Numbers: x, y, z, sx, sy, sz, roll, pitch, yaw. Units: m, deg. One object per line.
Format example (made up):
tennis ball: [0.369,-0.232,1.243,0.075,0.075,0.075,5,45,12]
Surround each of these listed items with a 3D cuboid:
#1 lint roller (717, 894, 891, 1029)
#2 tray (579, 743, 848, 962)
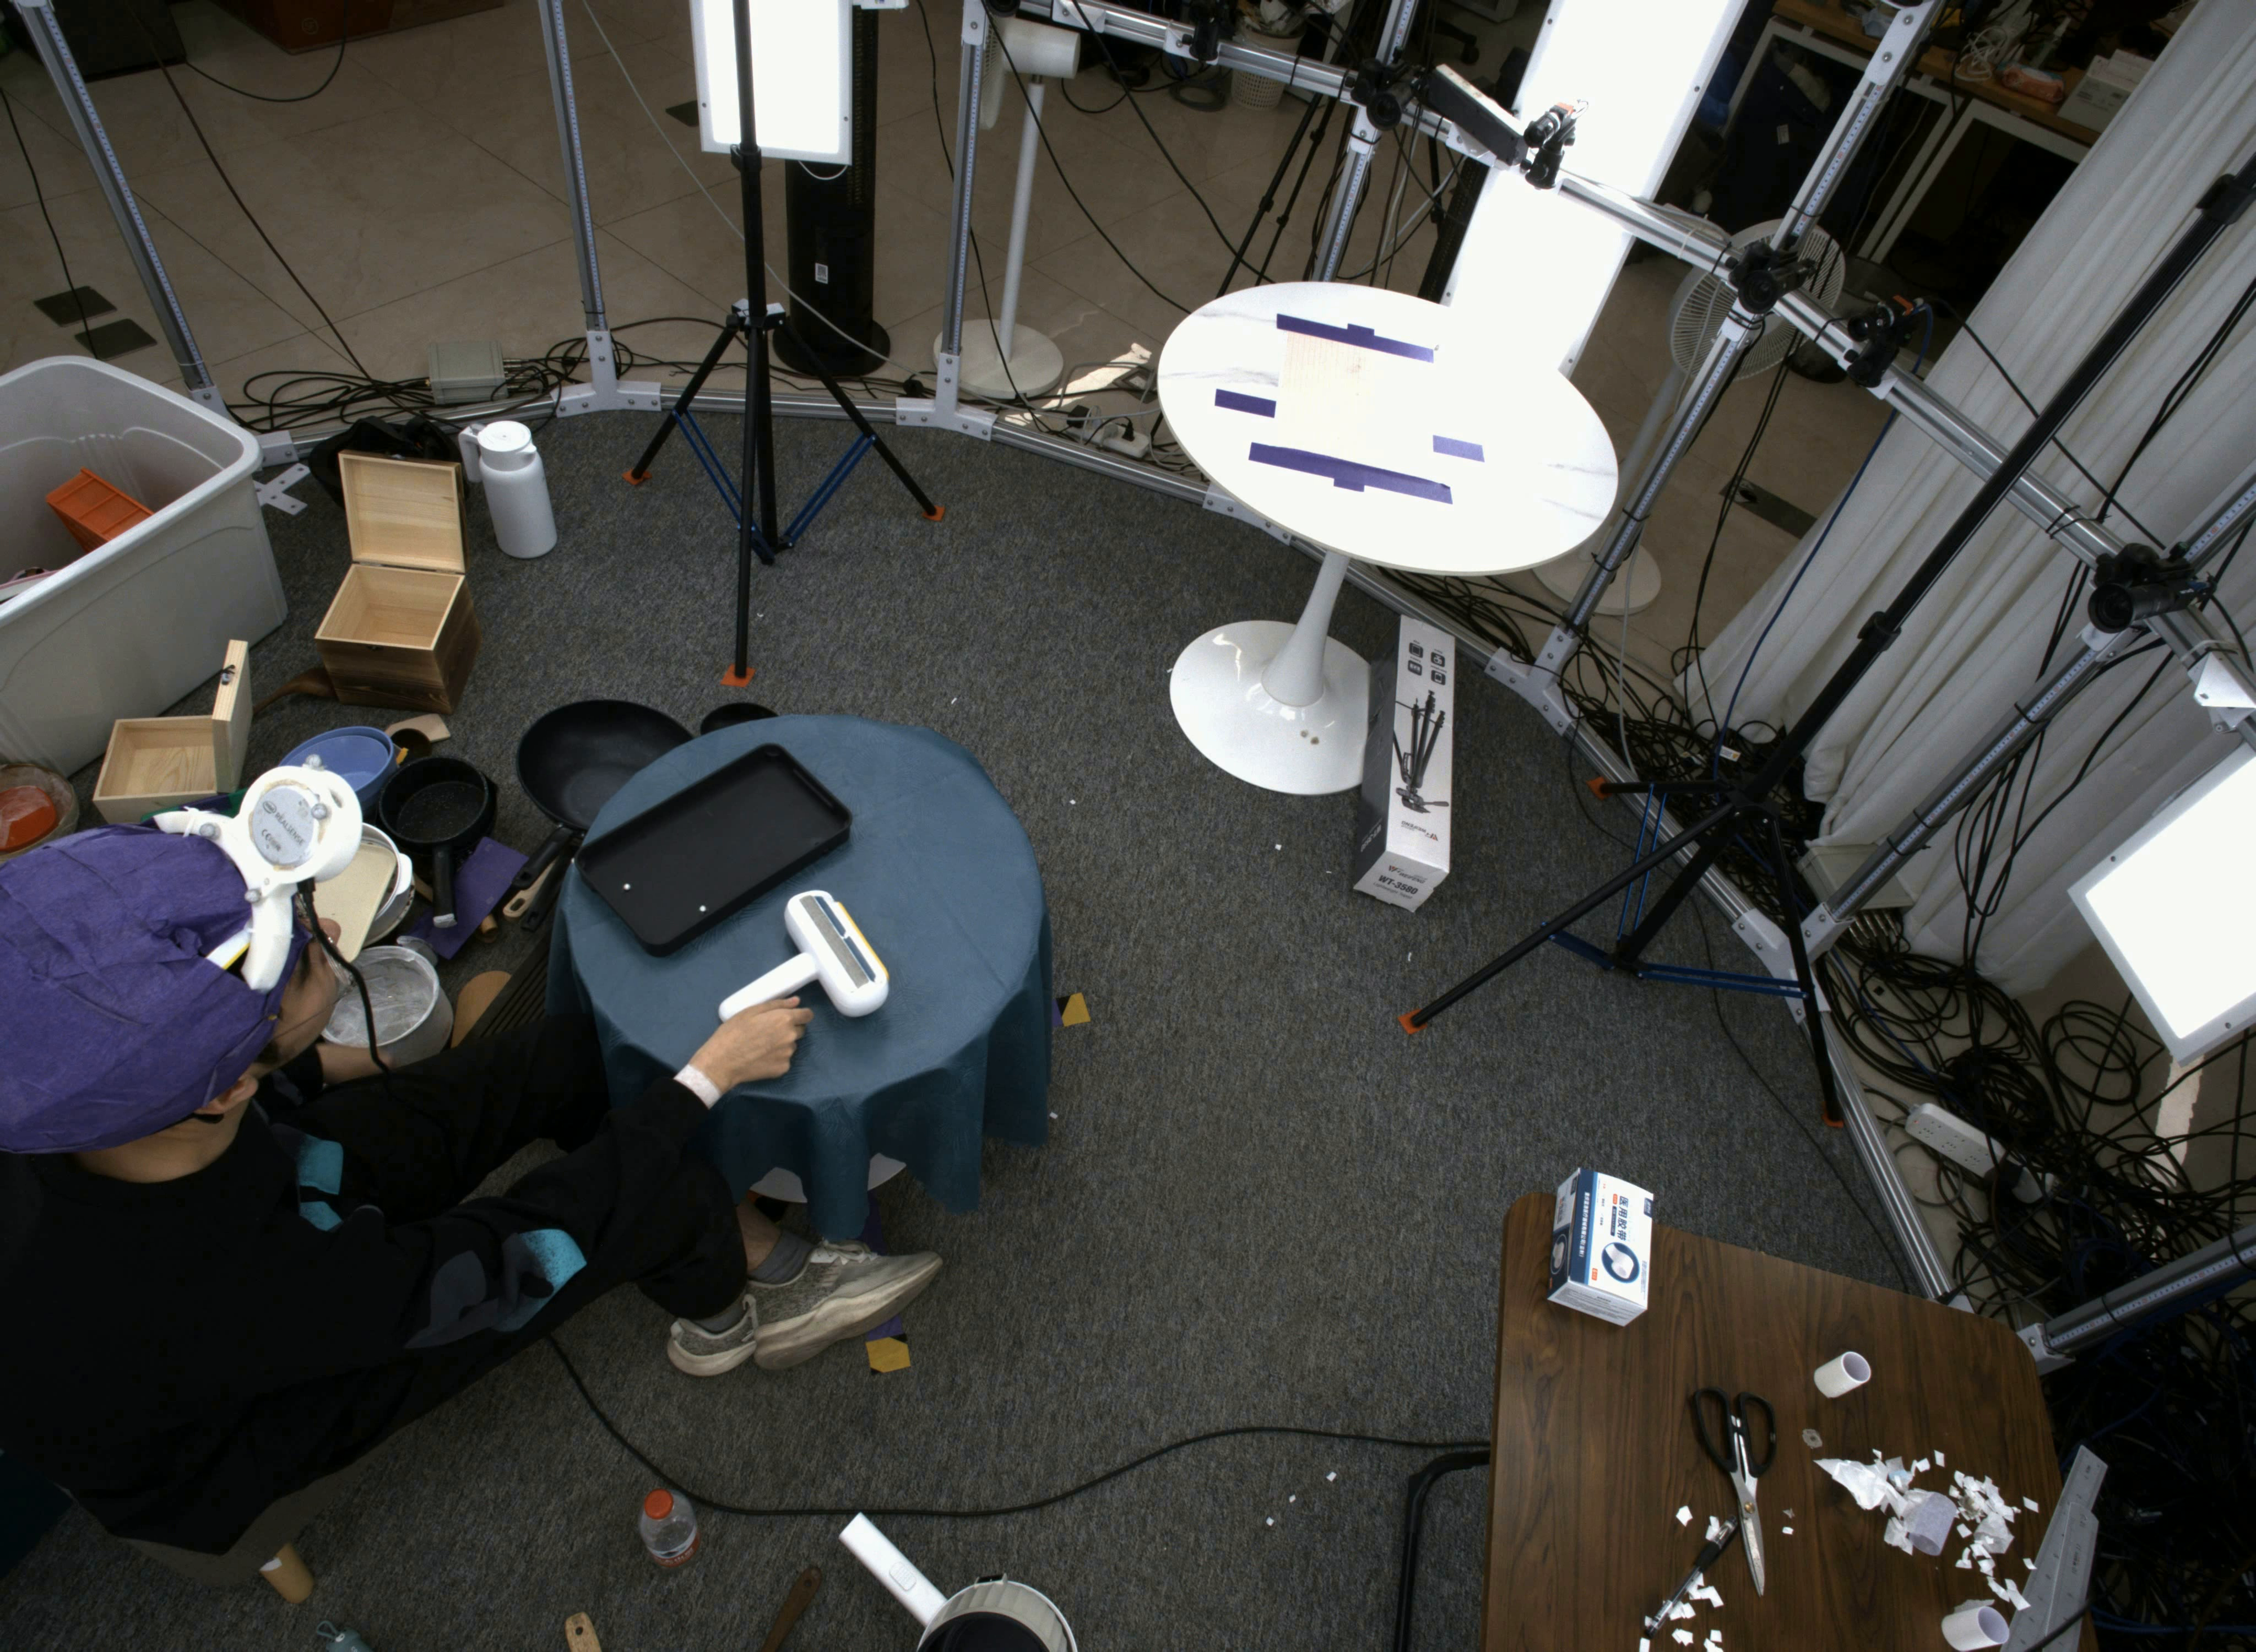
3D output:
lint roller: [-0.402,0.180,1.559,0.193,0.076,0.187,-20,56,-25]
tray: [-0.532,0.025,1.660,0.180,0.038,0.318,41,54,15]
